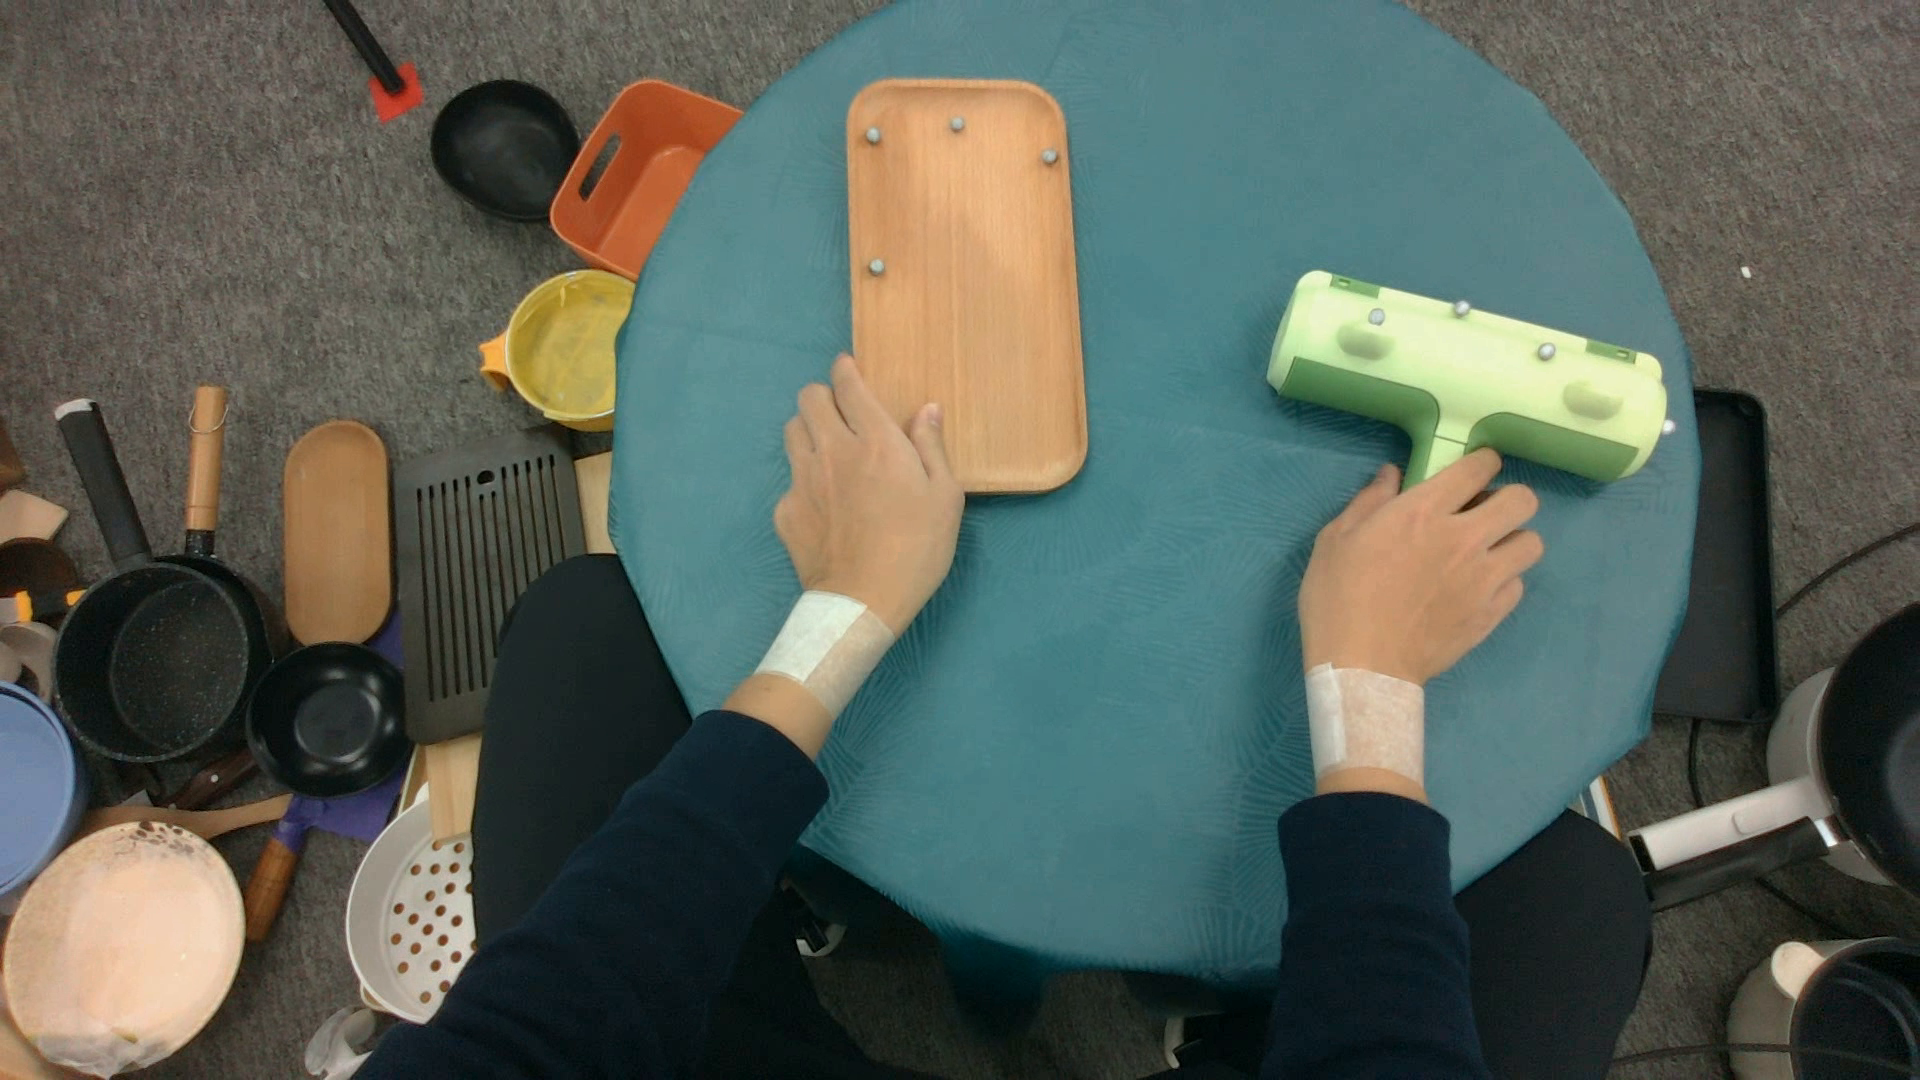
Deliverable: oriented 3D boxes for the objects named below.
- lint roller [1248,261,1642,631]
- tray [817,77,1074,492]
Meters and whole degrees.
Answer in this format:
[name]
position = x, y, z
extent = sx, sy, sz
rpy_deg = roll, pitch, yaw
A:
[lint roller]
position = 0.242, -0.048, 0.708
extent = 0.198, 0.082, 0.184
rpy_deg = 14, 69, 5
[tray]
position = -0.010, -0.147, 0.770
extent = 0.130, 0.023, 0.251
rpy_deg = -3, 75, -4
